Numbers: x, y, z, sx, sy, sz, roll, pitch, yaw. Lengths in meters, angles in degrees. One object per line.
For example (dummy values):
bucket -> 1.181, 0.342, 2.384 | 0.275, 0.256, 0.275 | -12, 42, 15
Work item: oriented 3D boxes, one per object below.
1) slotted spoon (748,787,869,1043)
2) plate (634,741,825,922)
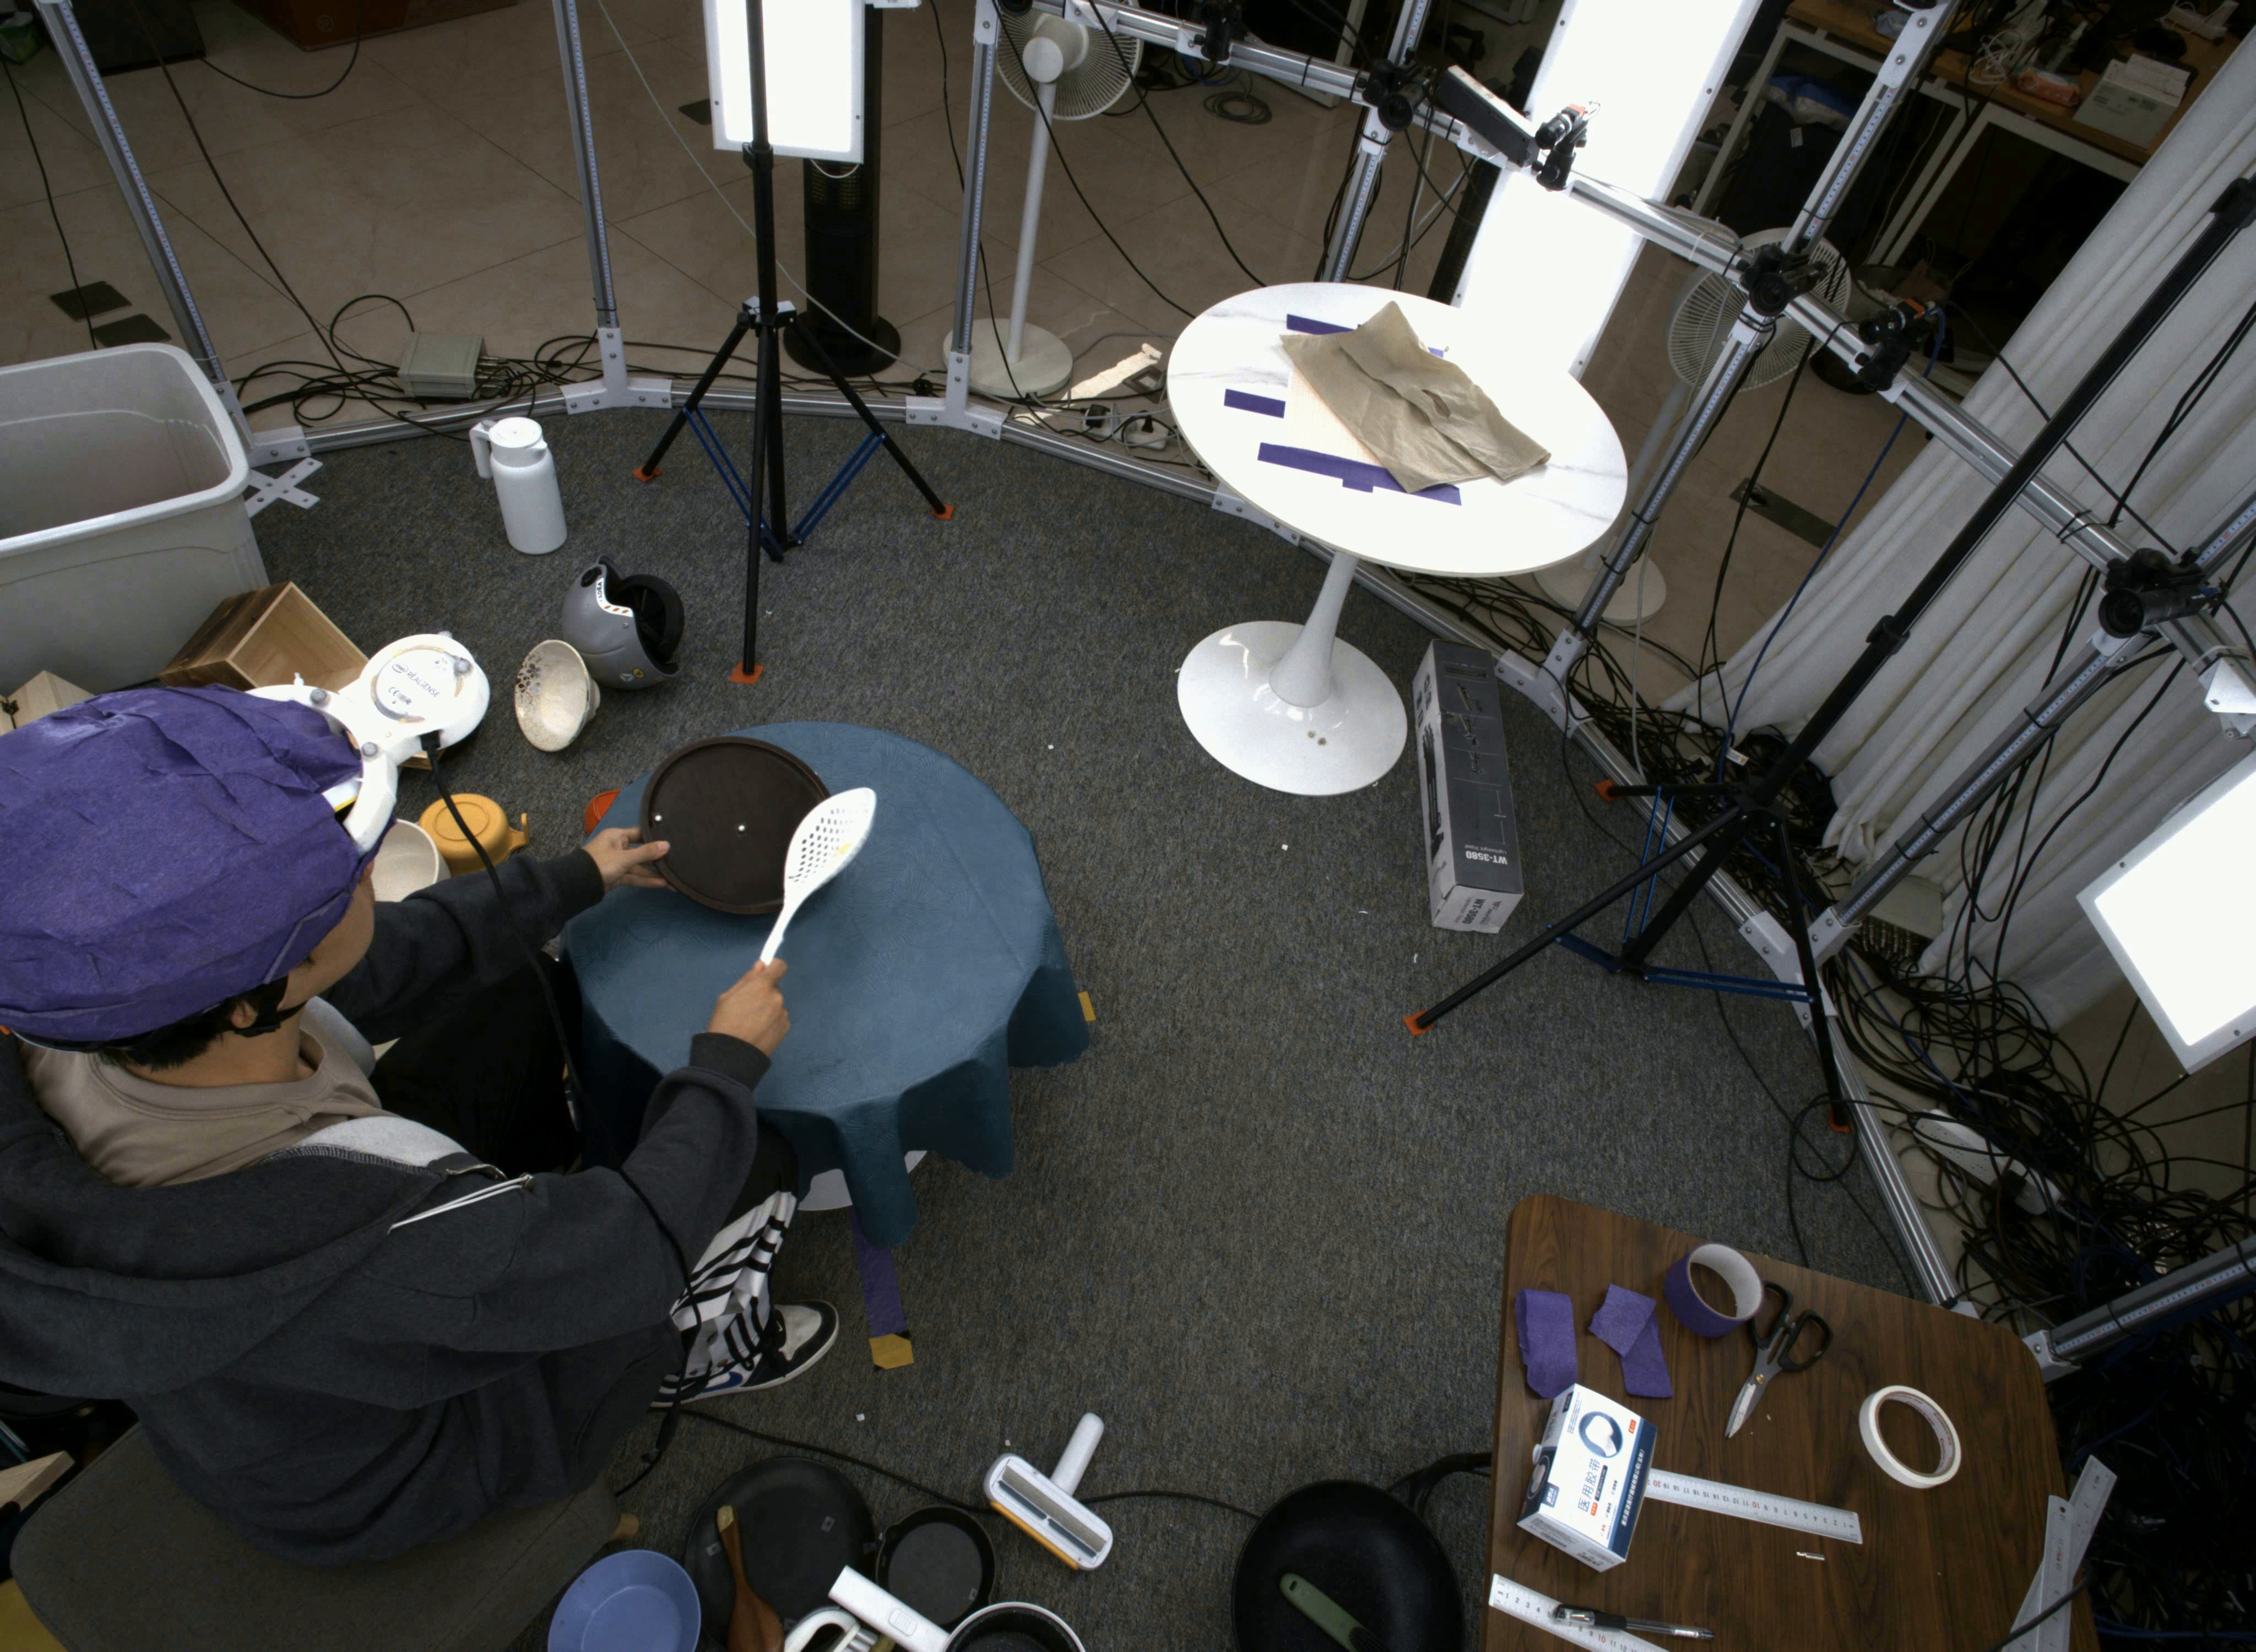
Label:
slotted spoon -> -0.387, 0.095, 1.518 | 0.133, 0.052, 0.344 | -12, 41, 32
plate -> -0.499, 0.005, 1.639 | 0.259, 0.029, 0.251 | 16, 58, -25
